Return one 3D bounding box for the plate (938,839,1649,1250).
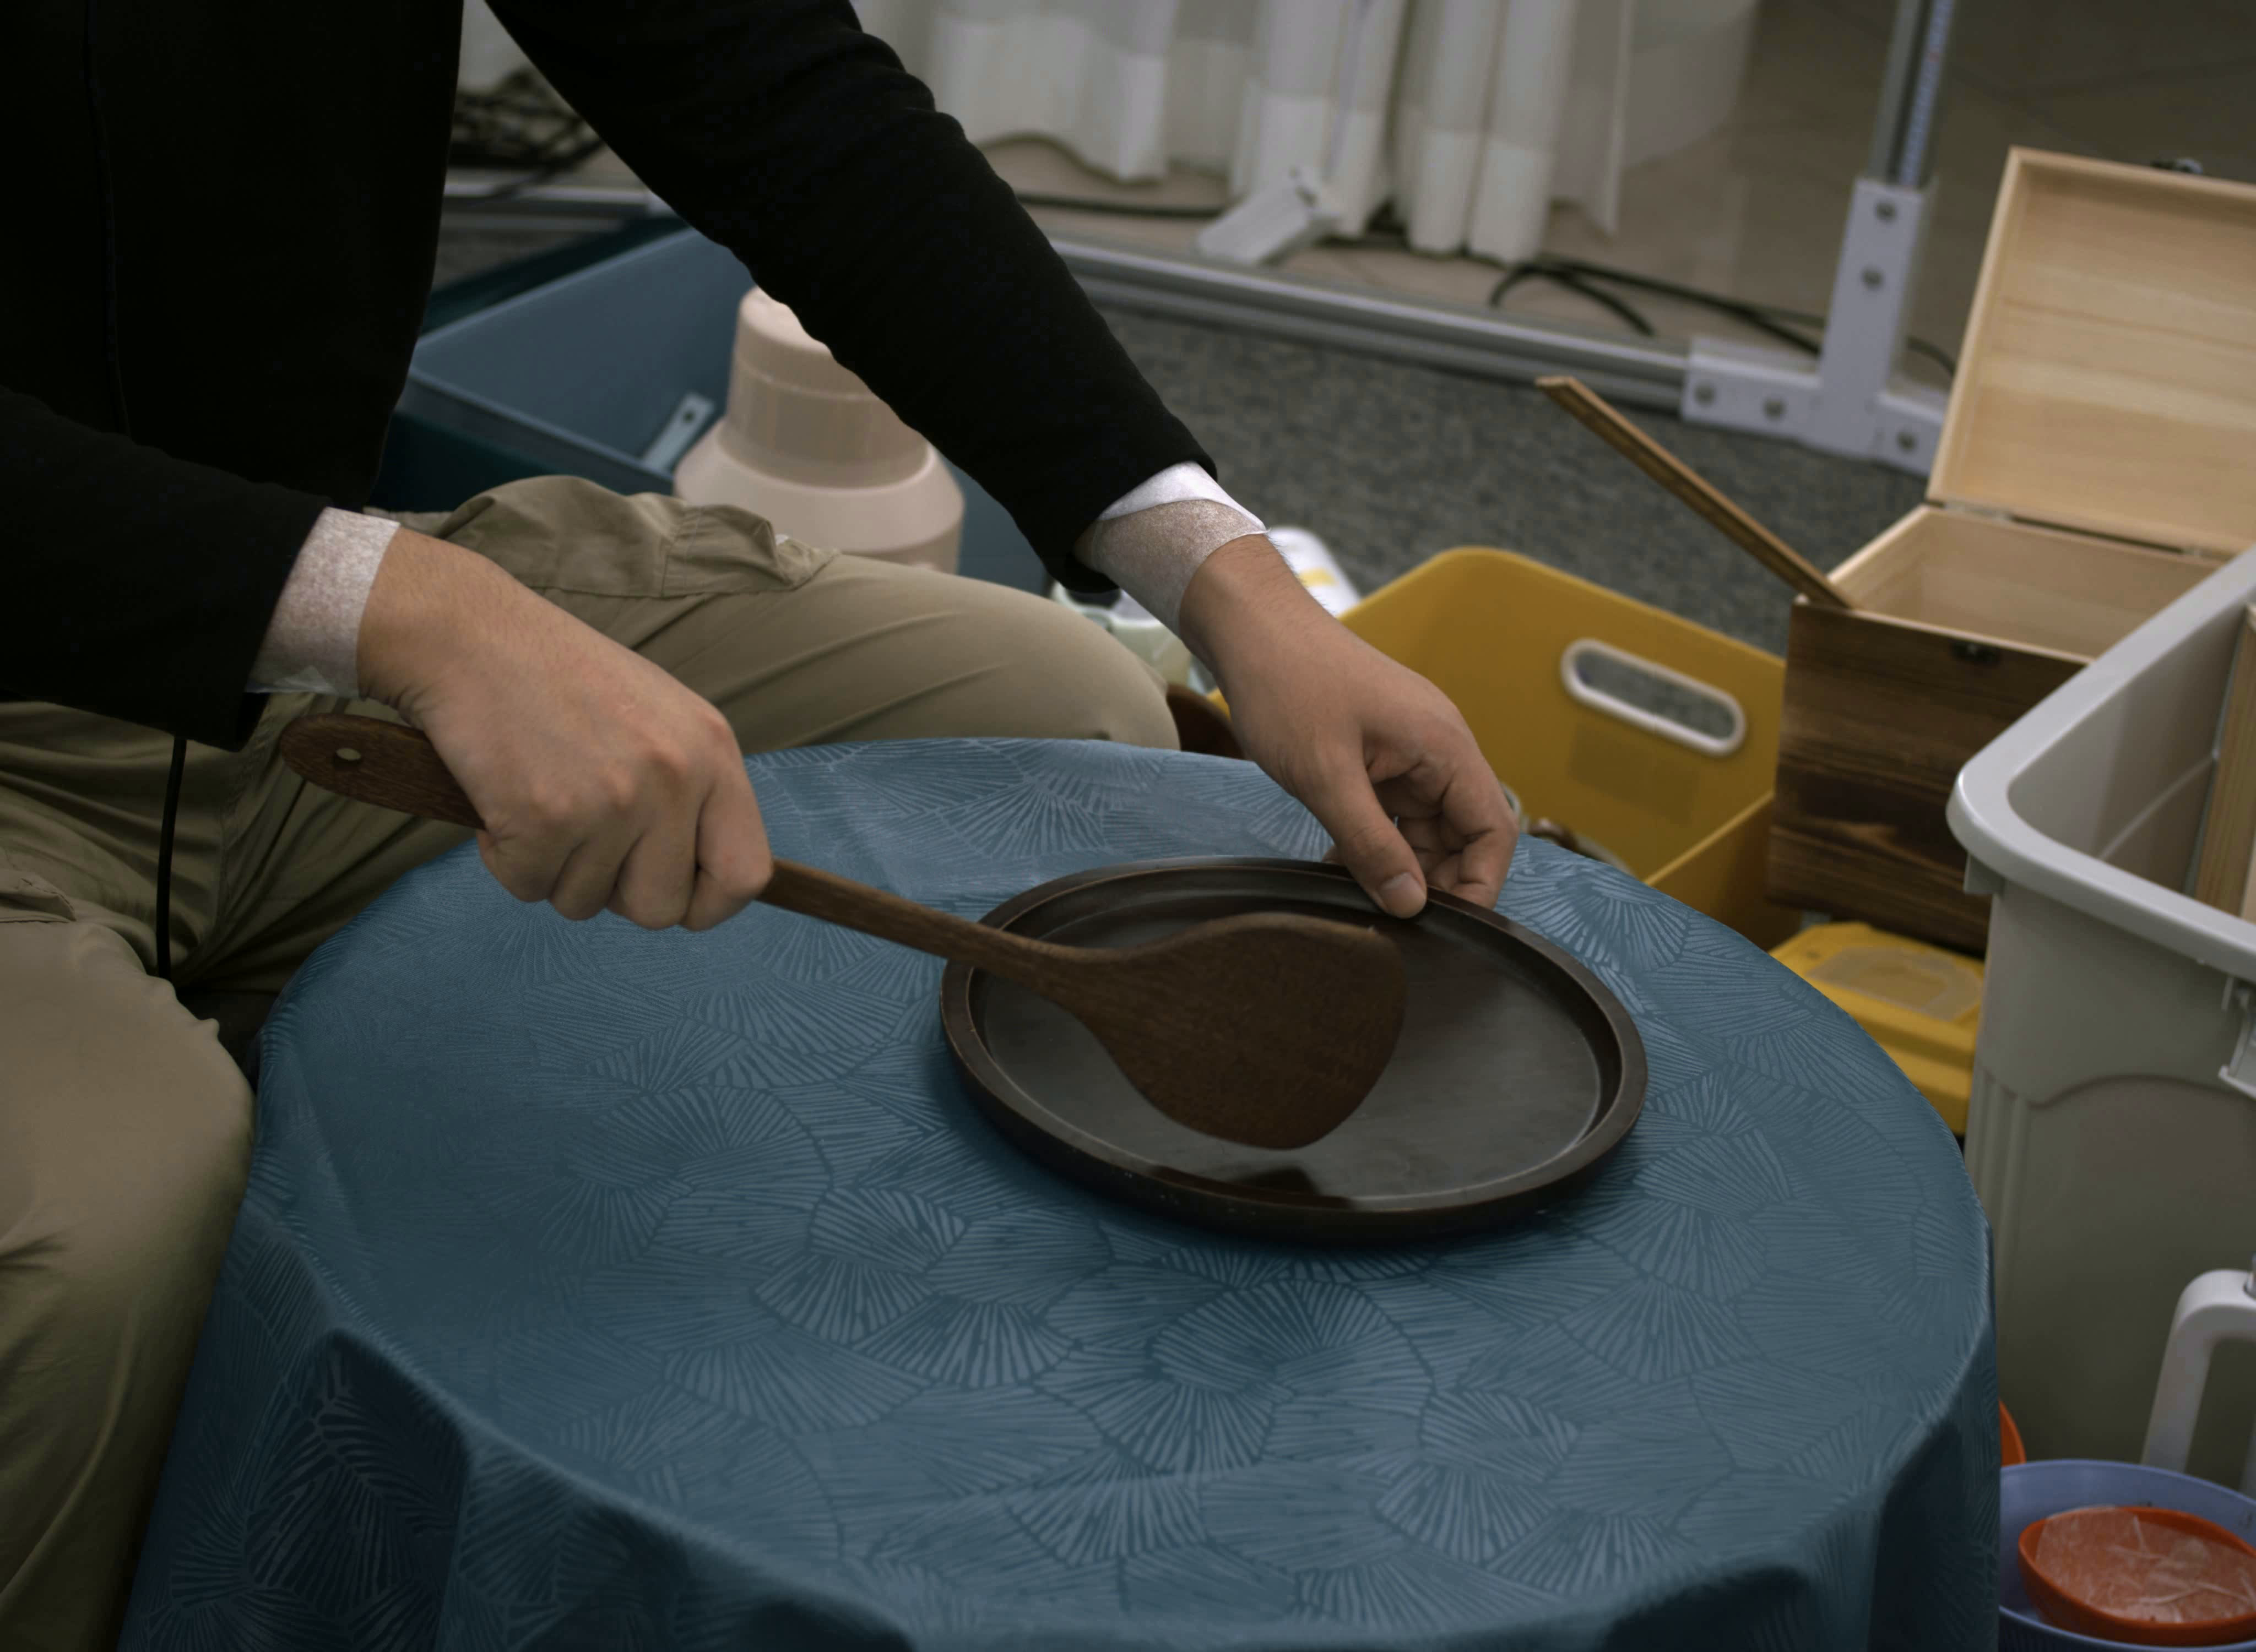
[{"bbox_3d":[0.058,0.078,1.877,0.254,0.029,0.256,4,28,-2],"label":"plate"}]

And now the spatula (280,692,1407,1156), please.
[{"bbox_3d":[-0.092,0.023,1.746,0.384,0.096,0.016,18,29,-11],"label":"spatula"}]
